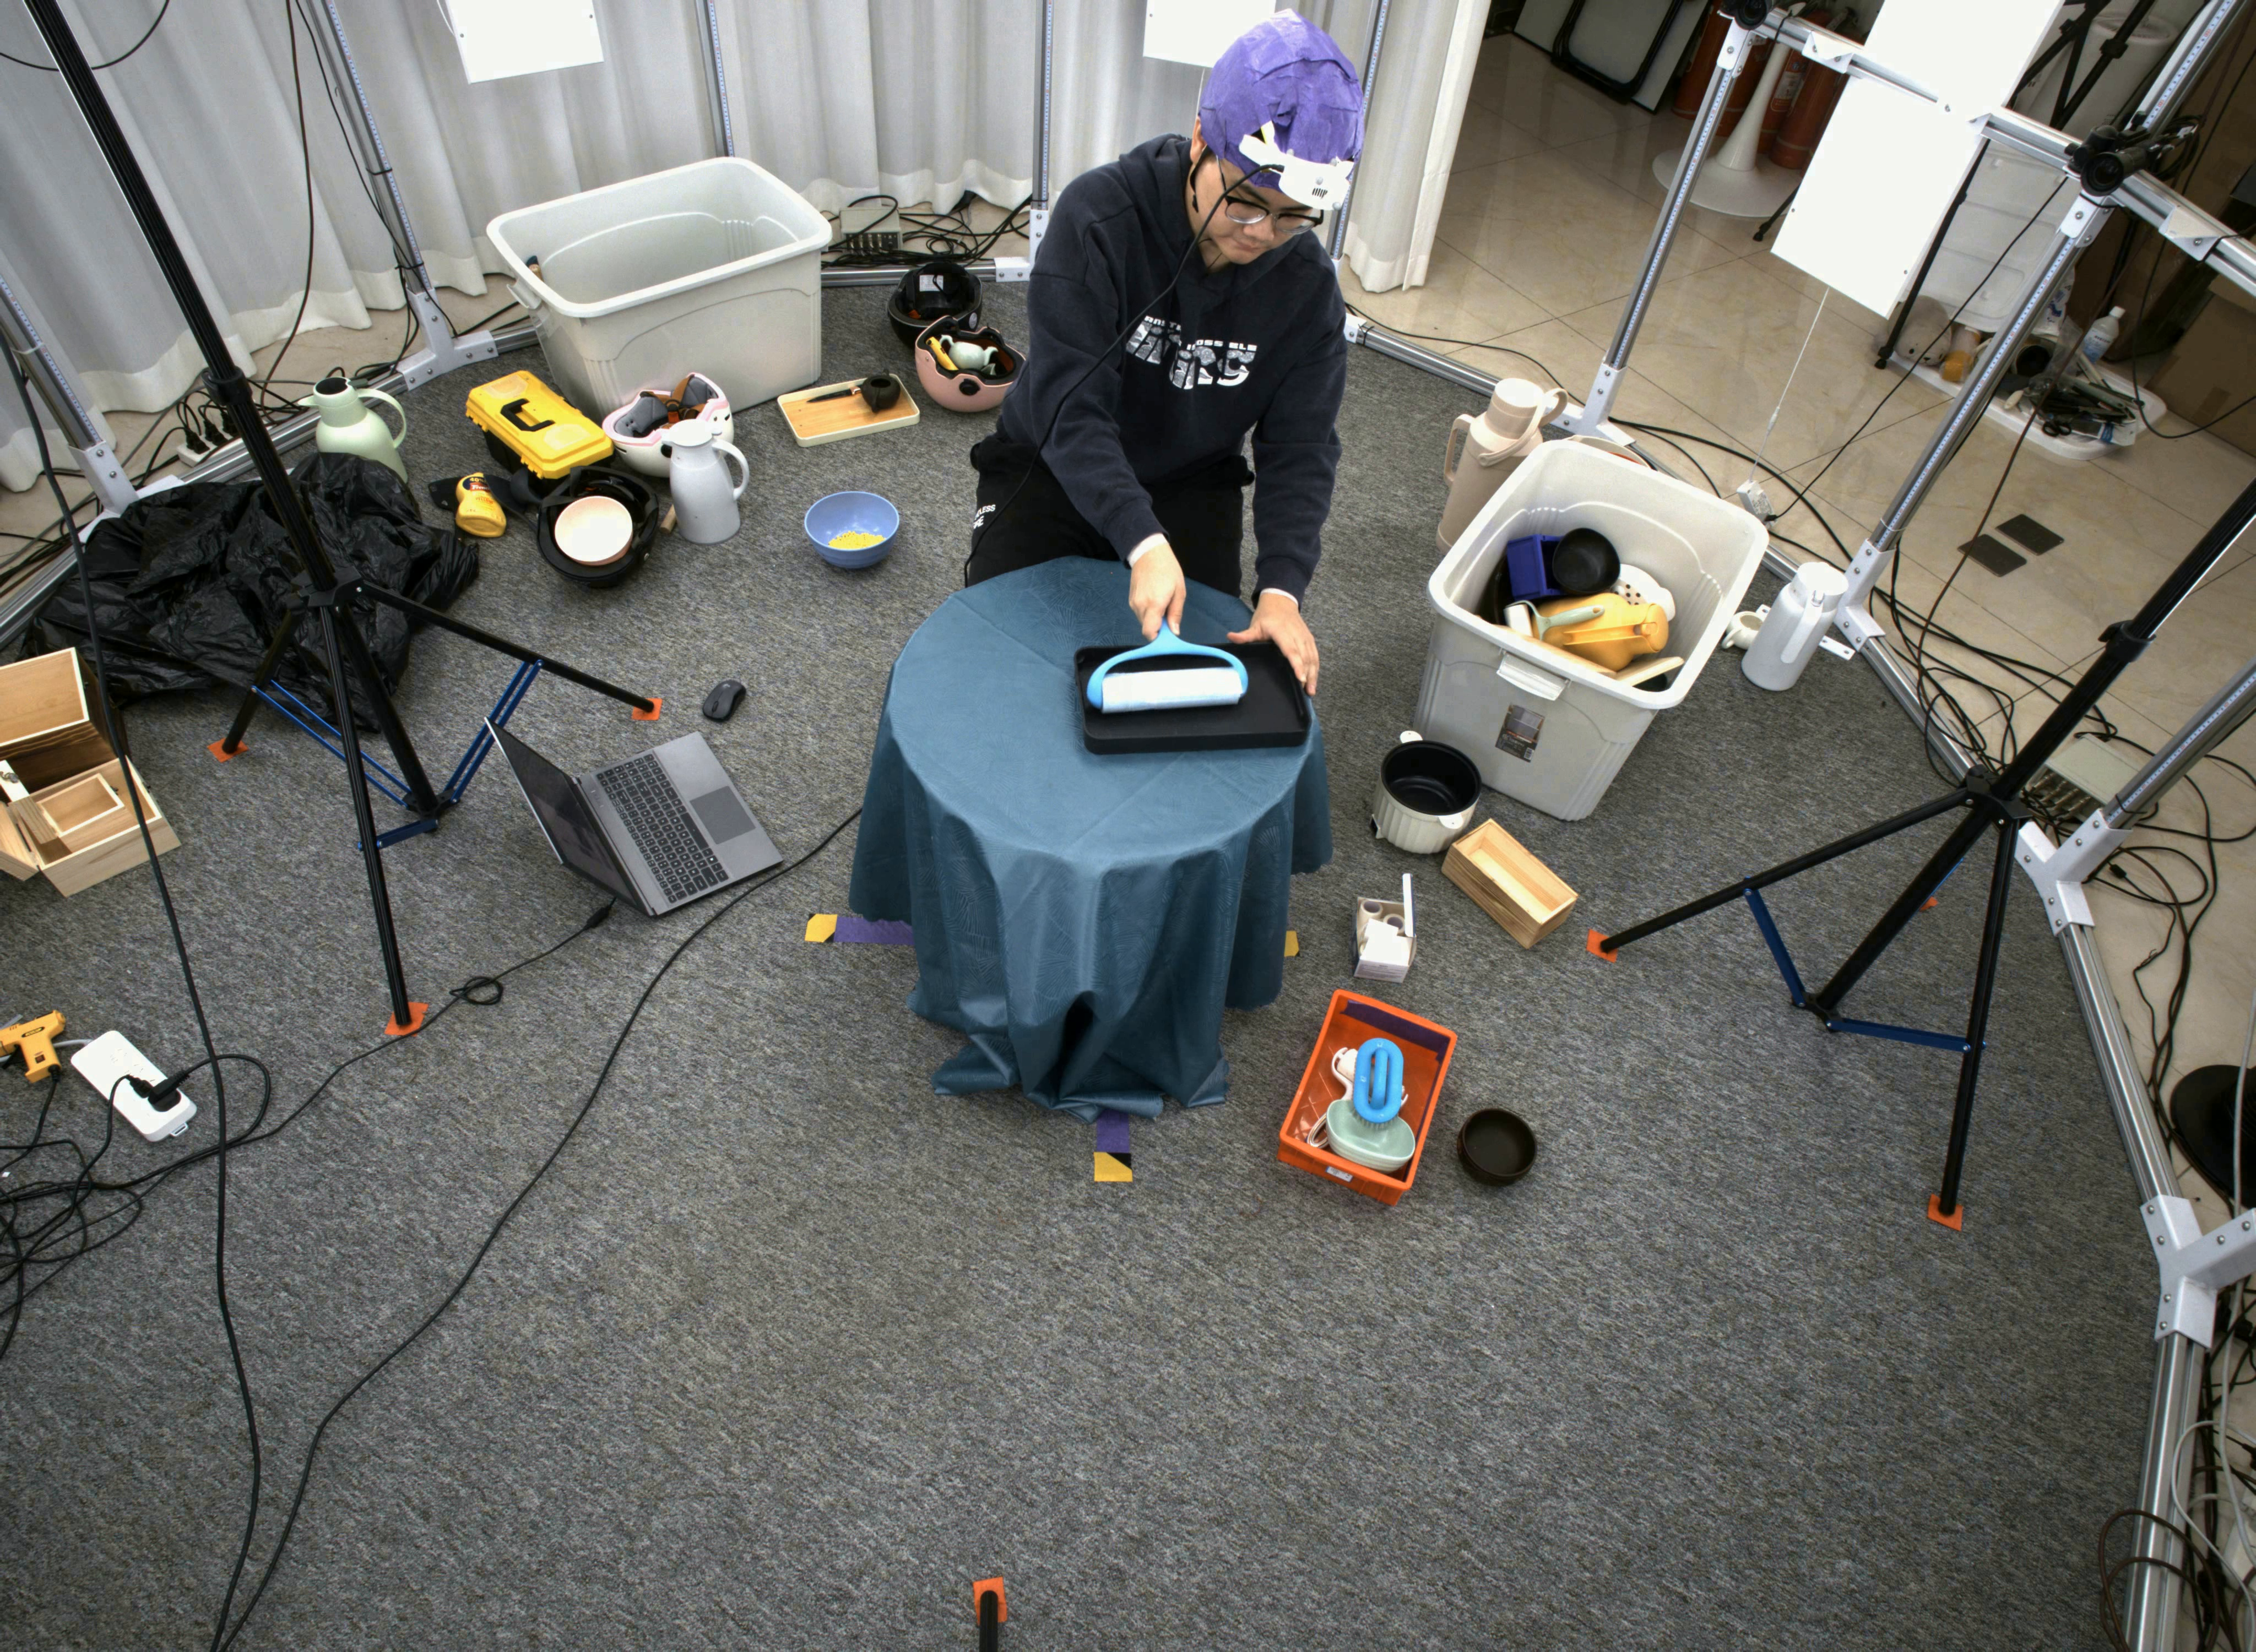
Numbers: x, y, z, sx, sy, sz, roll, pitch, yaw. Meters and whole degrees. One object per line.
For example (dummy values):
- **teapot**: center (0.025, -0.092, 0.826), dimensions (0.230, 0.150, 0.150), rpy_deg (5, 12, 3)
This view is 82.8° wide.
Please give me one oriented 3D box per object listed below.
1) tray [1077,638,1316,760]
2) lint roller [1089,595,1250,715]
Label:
- **tray**: center (0.093, -0.182, 1.811), dimensions (0.317, 0.036, 0.189), rpy_deg (-5, 50, -6)
- **lint roller**: center (0.050, -0.248, 1.805), dimensions (0.229, 0.067, 0.182), rpy_deg (-7, 80, -8)
